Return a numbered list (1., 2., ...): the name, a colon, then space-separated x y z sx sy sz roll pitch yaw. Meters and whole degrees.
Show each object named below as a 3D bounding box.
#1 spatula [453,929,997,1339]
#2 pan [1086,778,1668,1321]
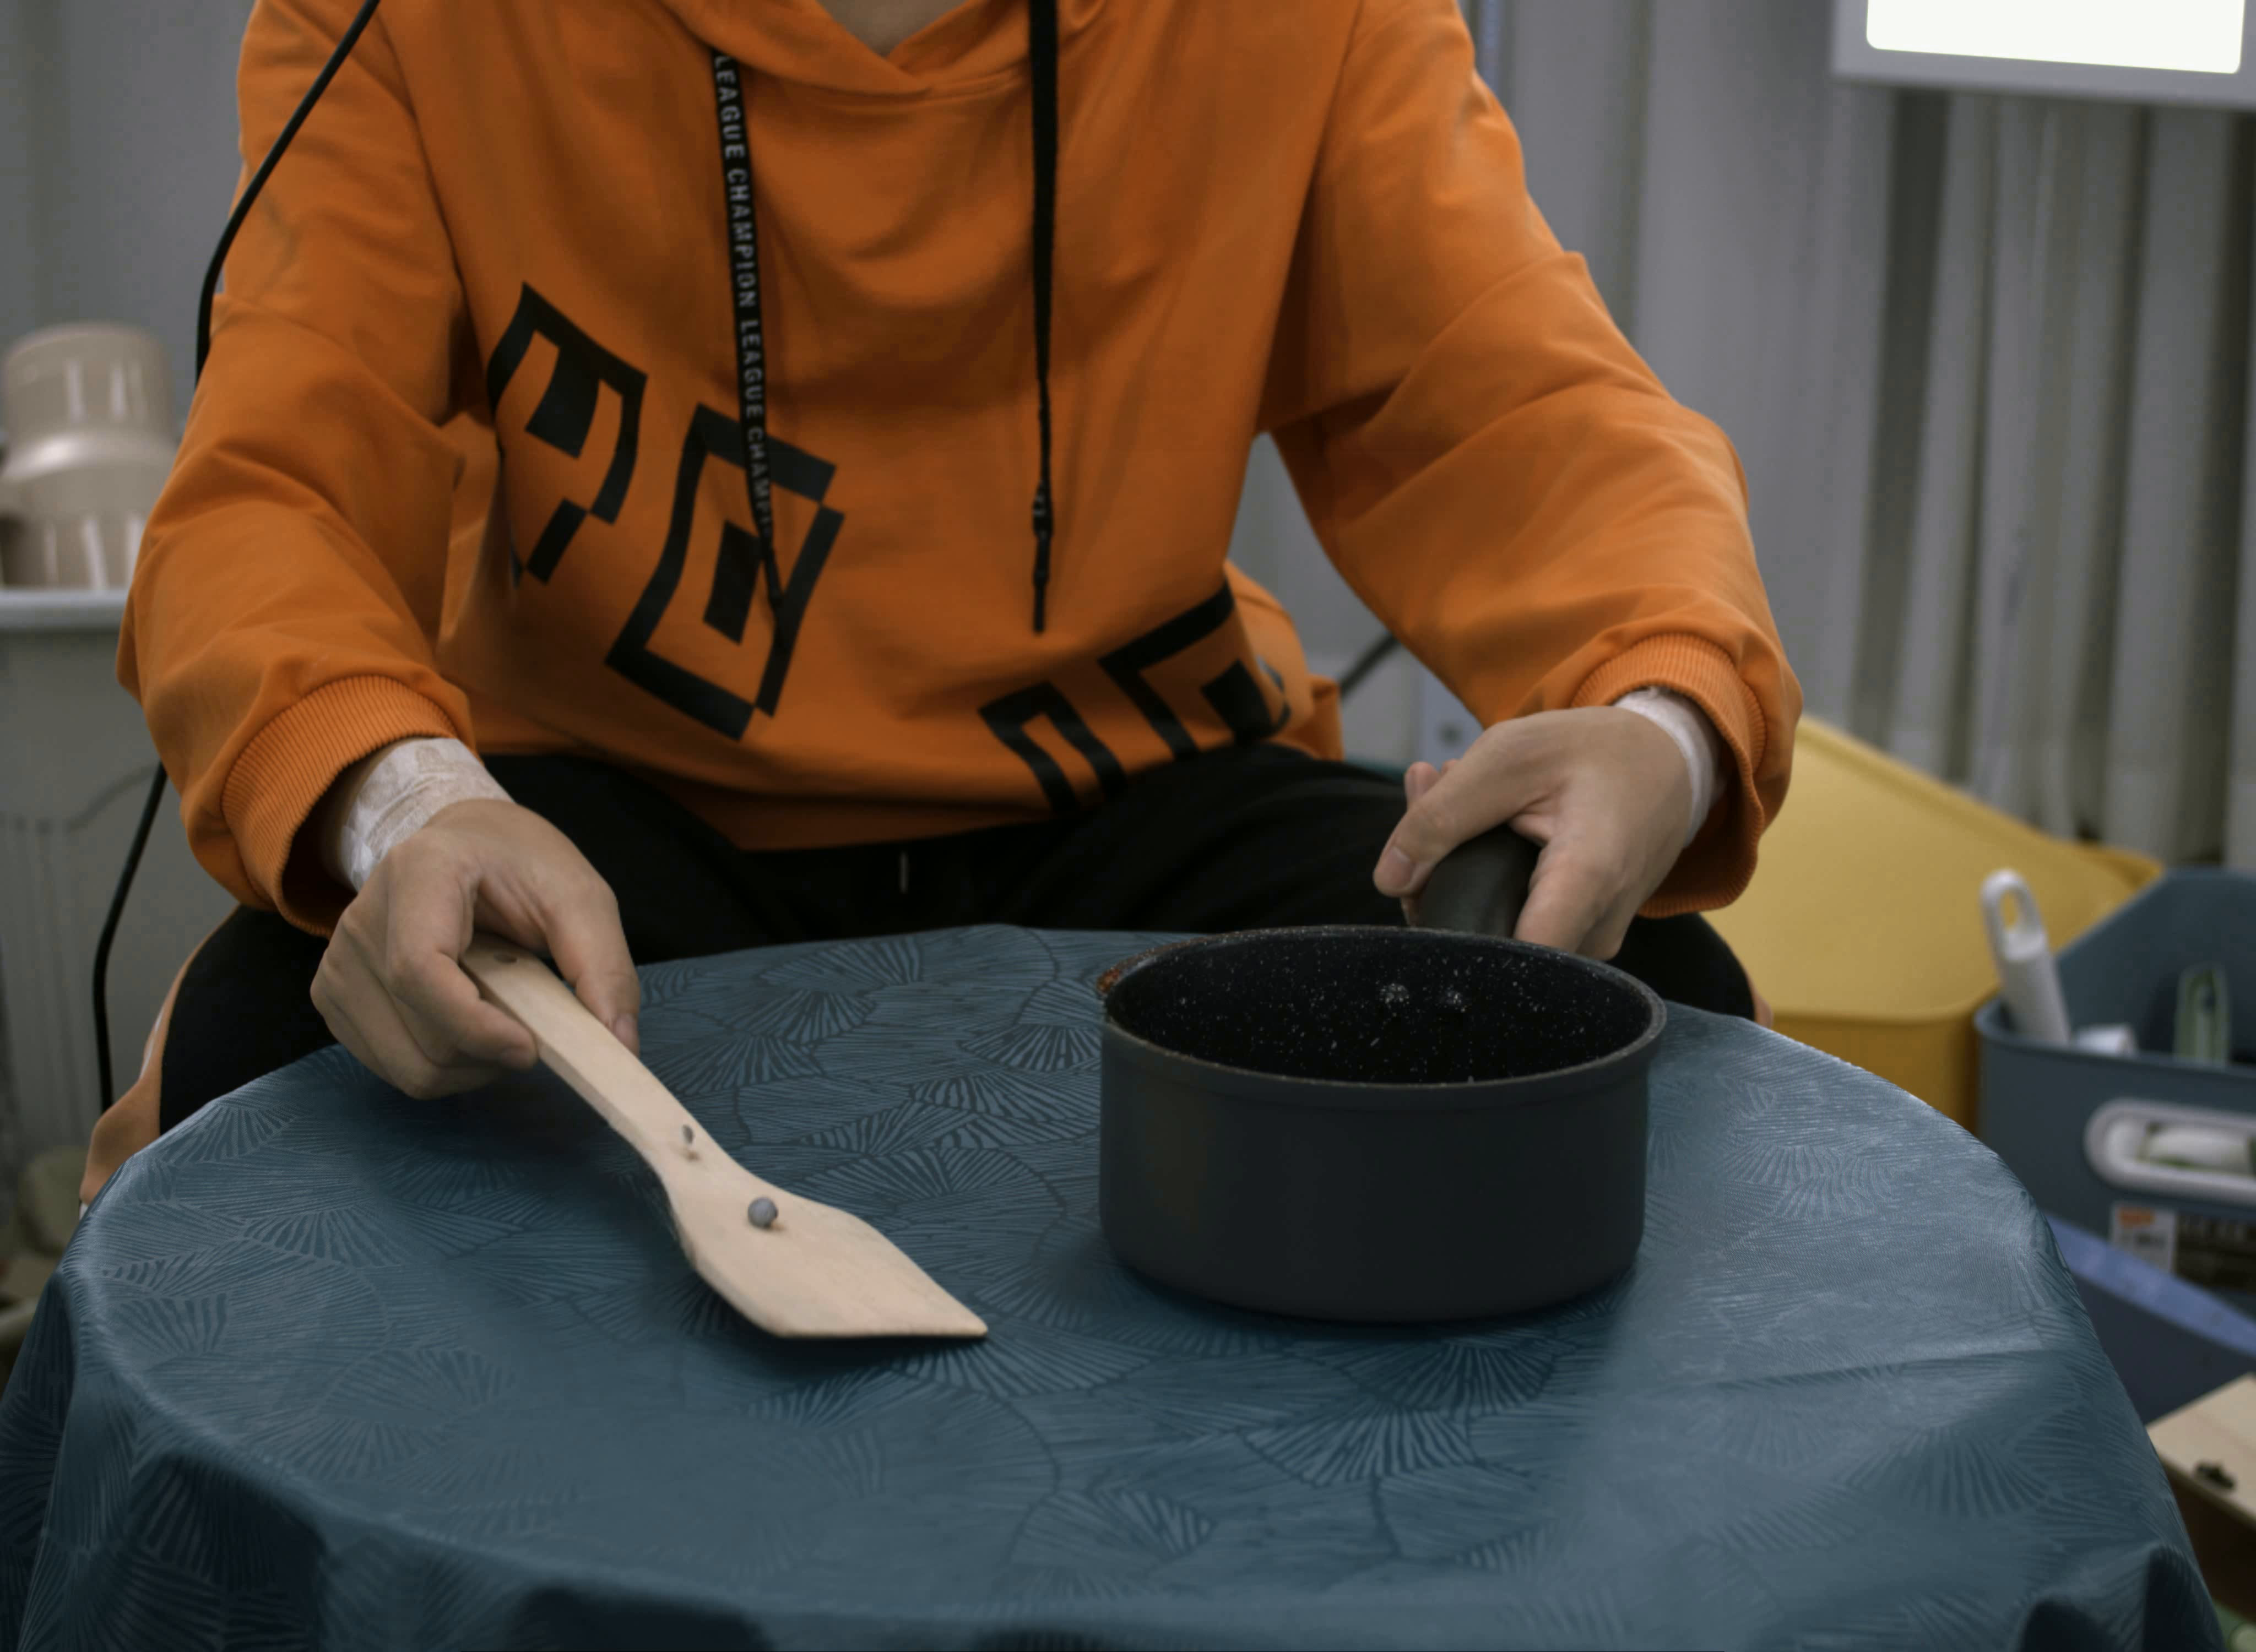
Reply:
1. spatula: -0.137 0.090 1.589 0.073 0.011 0.289 4 20 -35
2. pan: 0.095 0.065 1.638 0.170 0.087 0.328 6 17 15
